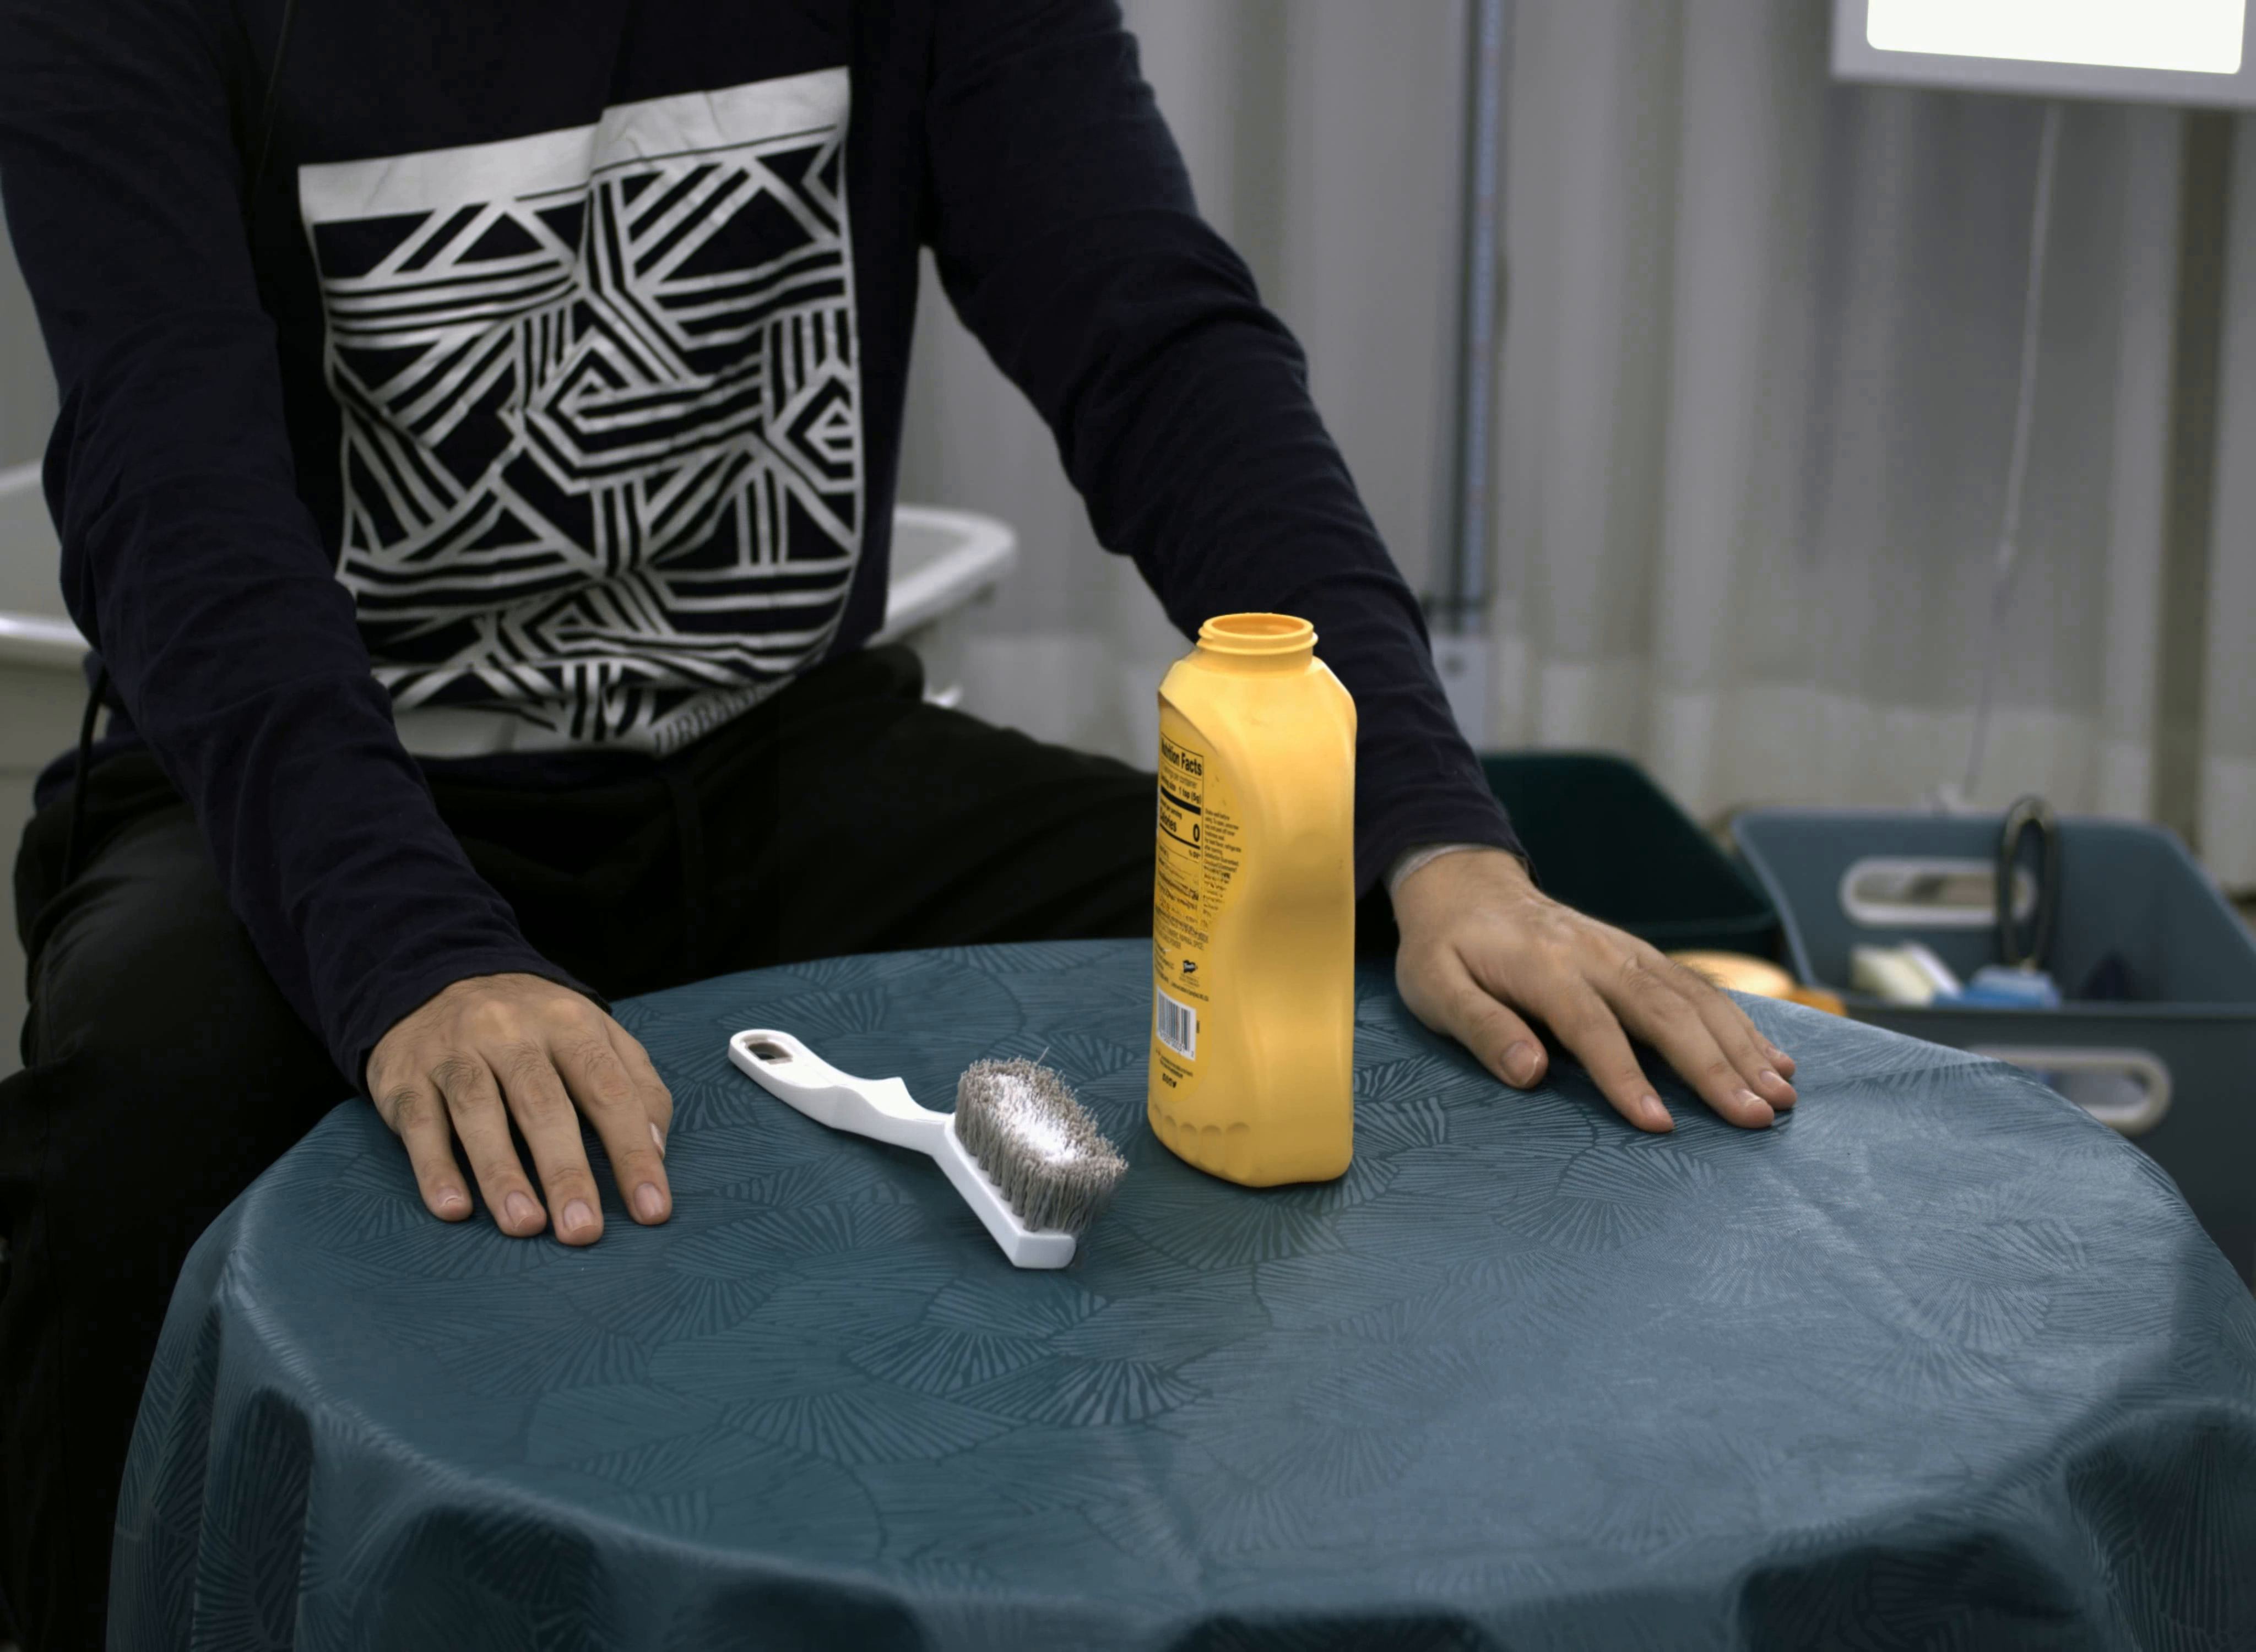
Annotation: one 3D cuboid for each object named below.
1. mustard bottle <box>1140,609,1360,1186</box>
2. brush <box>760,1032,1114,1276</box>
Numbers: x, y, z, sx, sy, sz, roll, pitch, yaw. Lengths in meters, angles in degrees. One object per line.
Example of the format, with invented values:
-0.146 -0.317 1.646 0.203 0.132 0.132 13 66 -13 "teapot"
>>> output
0.038 0.019 1.643 0.059 0.173 0.097 -4 15 -24 "mustard bottle"
-0.066 0.082 1.646 0.034 0.050 0.241 -11 19 -22 "brush"
